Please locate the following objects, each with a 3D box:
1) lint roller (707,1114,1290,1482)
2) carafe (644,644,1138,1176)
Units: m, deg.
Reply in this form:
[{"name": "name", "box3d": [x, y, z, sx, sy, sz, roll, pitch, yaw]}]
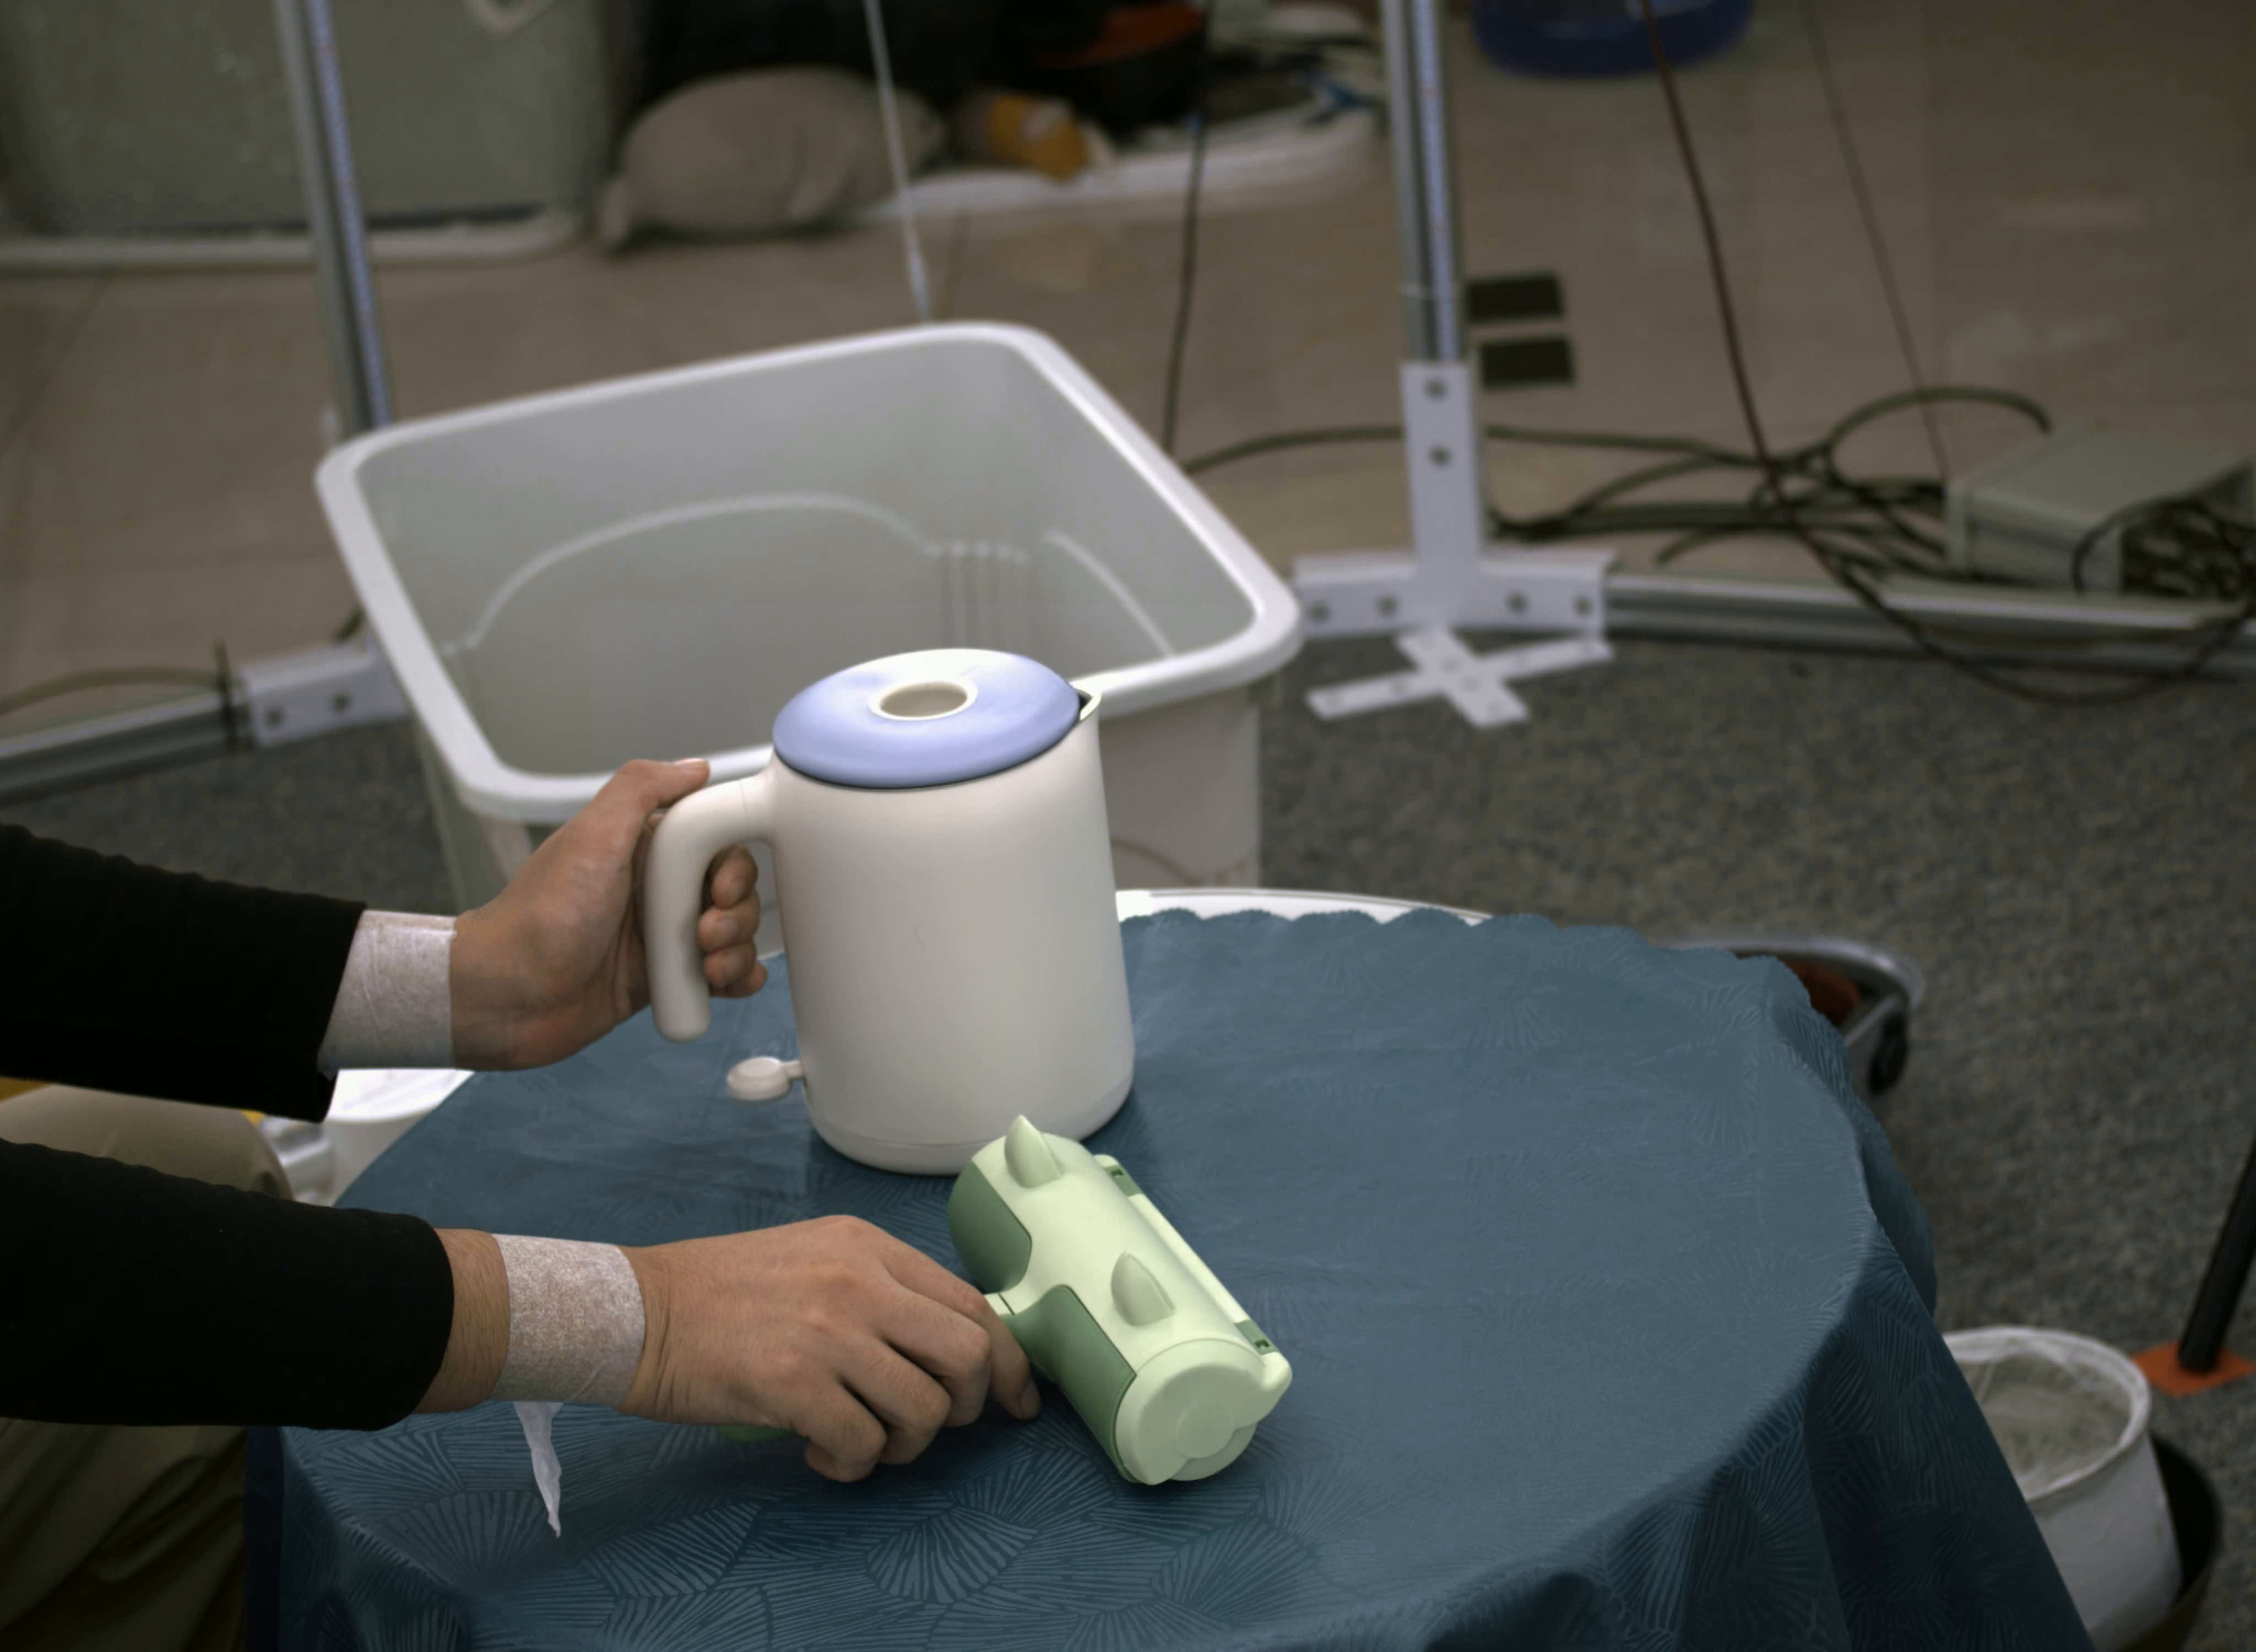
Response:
[{"name": "lint roller", "box3d": [-0.060, 0.167, 2.000, 0.183, 0.083, 0.196, -6, 23, -19]}, {"name": "carafe", "box3d": [-0.093, 0.037, 2.184, 0.190, 0.185, 0.130, -13, 26, -8]}]
